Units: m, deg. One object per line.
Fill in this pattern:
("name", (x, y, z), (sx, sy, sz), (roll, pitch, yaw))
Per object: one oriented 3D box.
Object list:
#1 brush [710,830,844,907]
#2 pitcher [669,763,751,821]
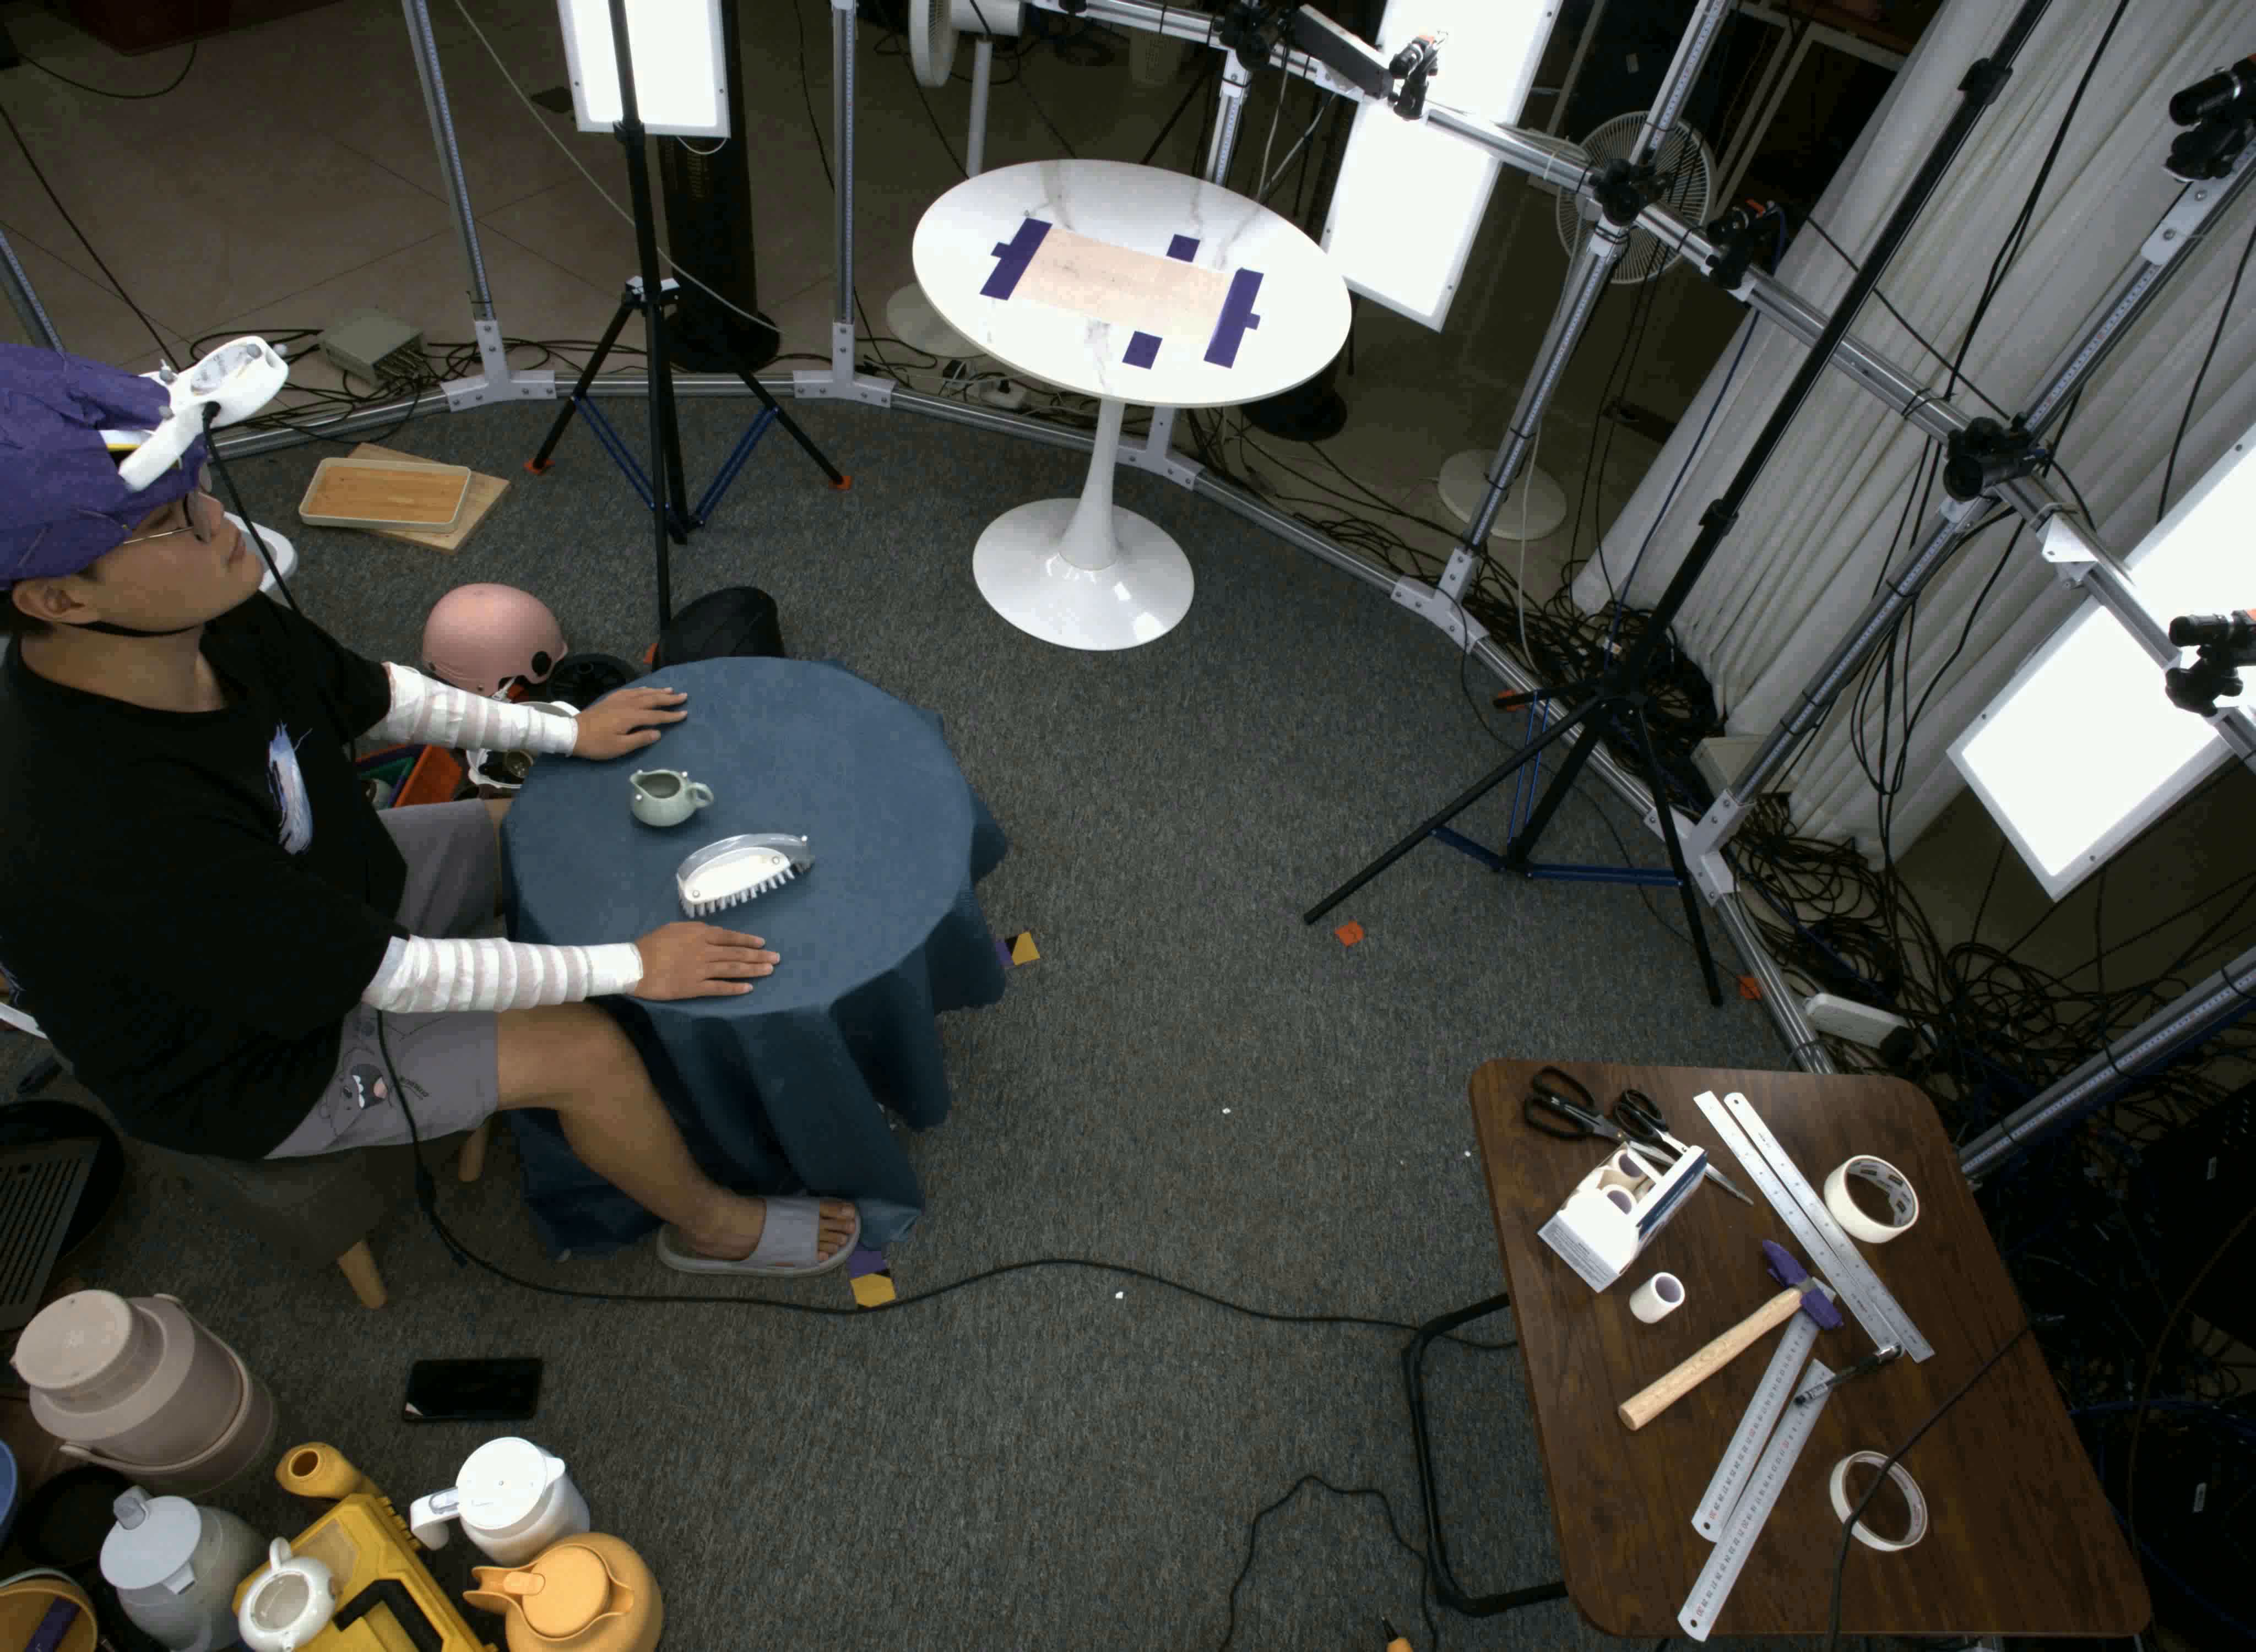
("brush", (-0.443, 0.036, 1.644), (0.176, 0.096, 0.060), (-16, 62, -26))
("pitcher", (-0.551, -0.048, 1.702), (0.108, 0.061, 0.084), (9, 53, -9))
